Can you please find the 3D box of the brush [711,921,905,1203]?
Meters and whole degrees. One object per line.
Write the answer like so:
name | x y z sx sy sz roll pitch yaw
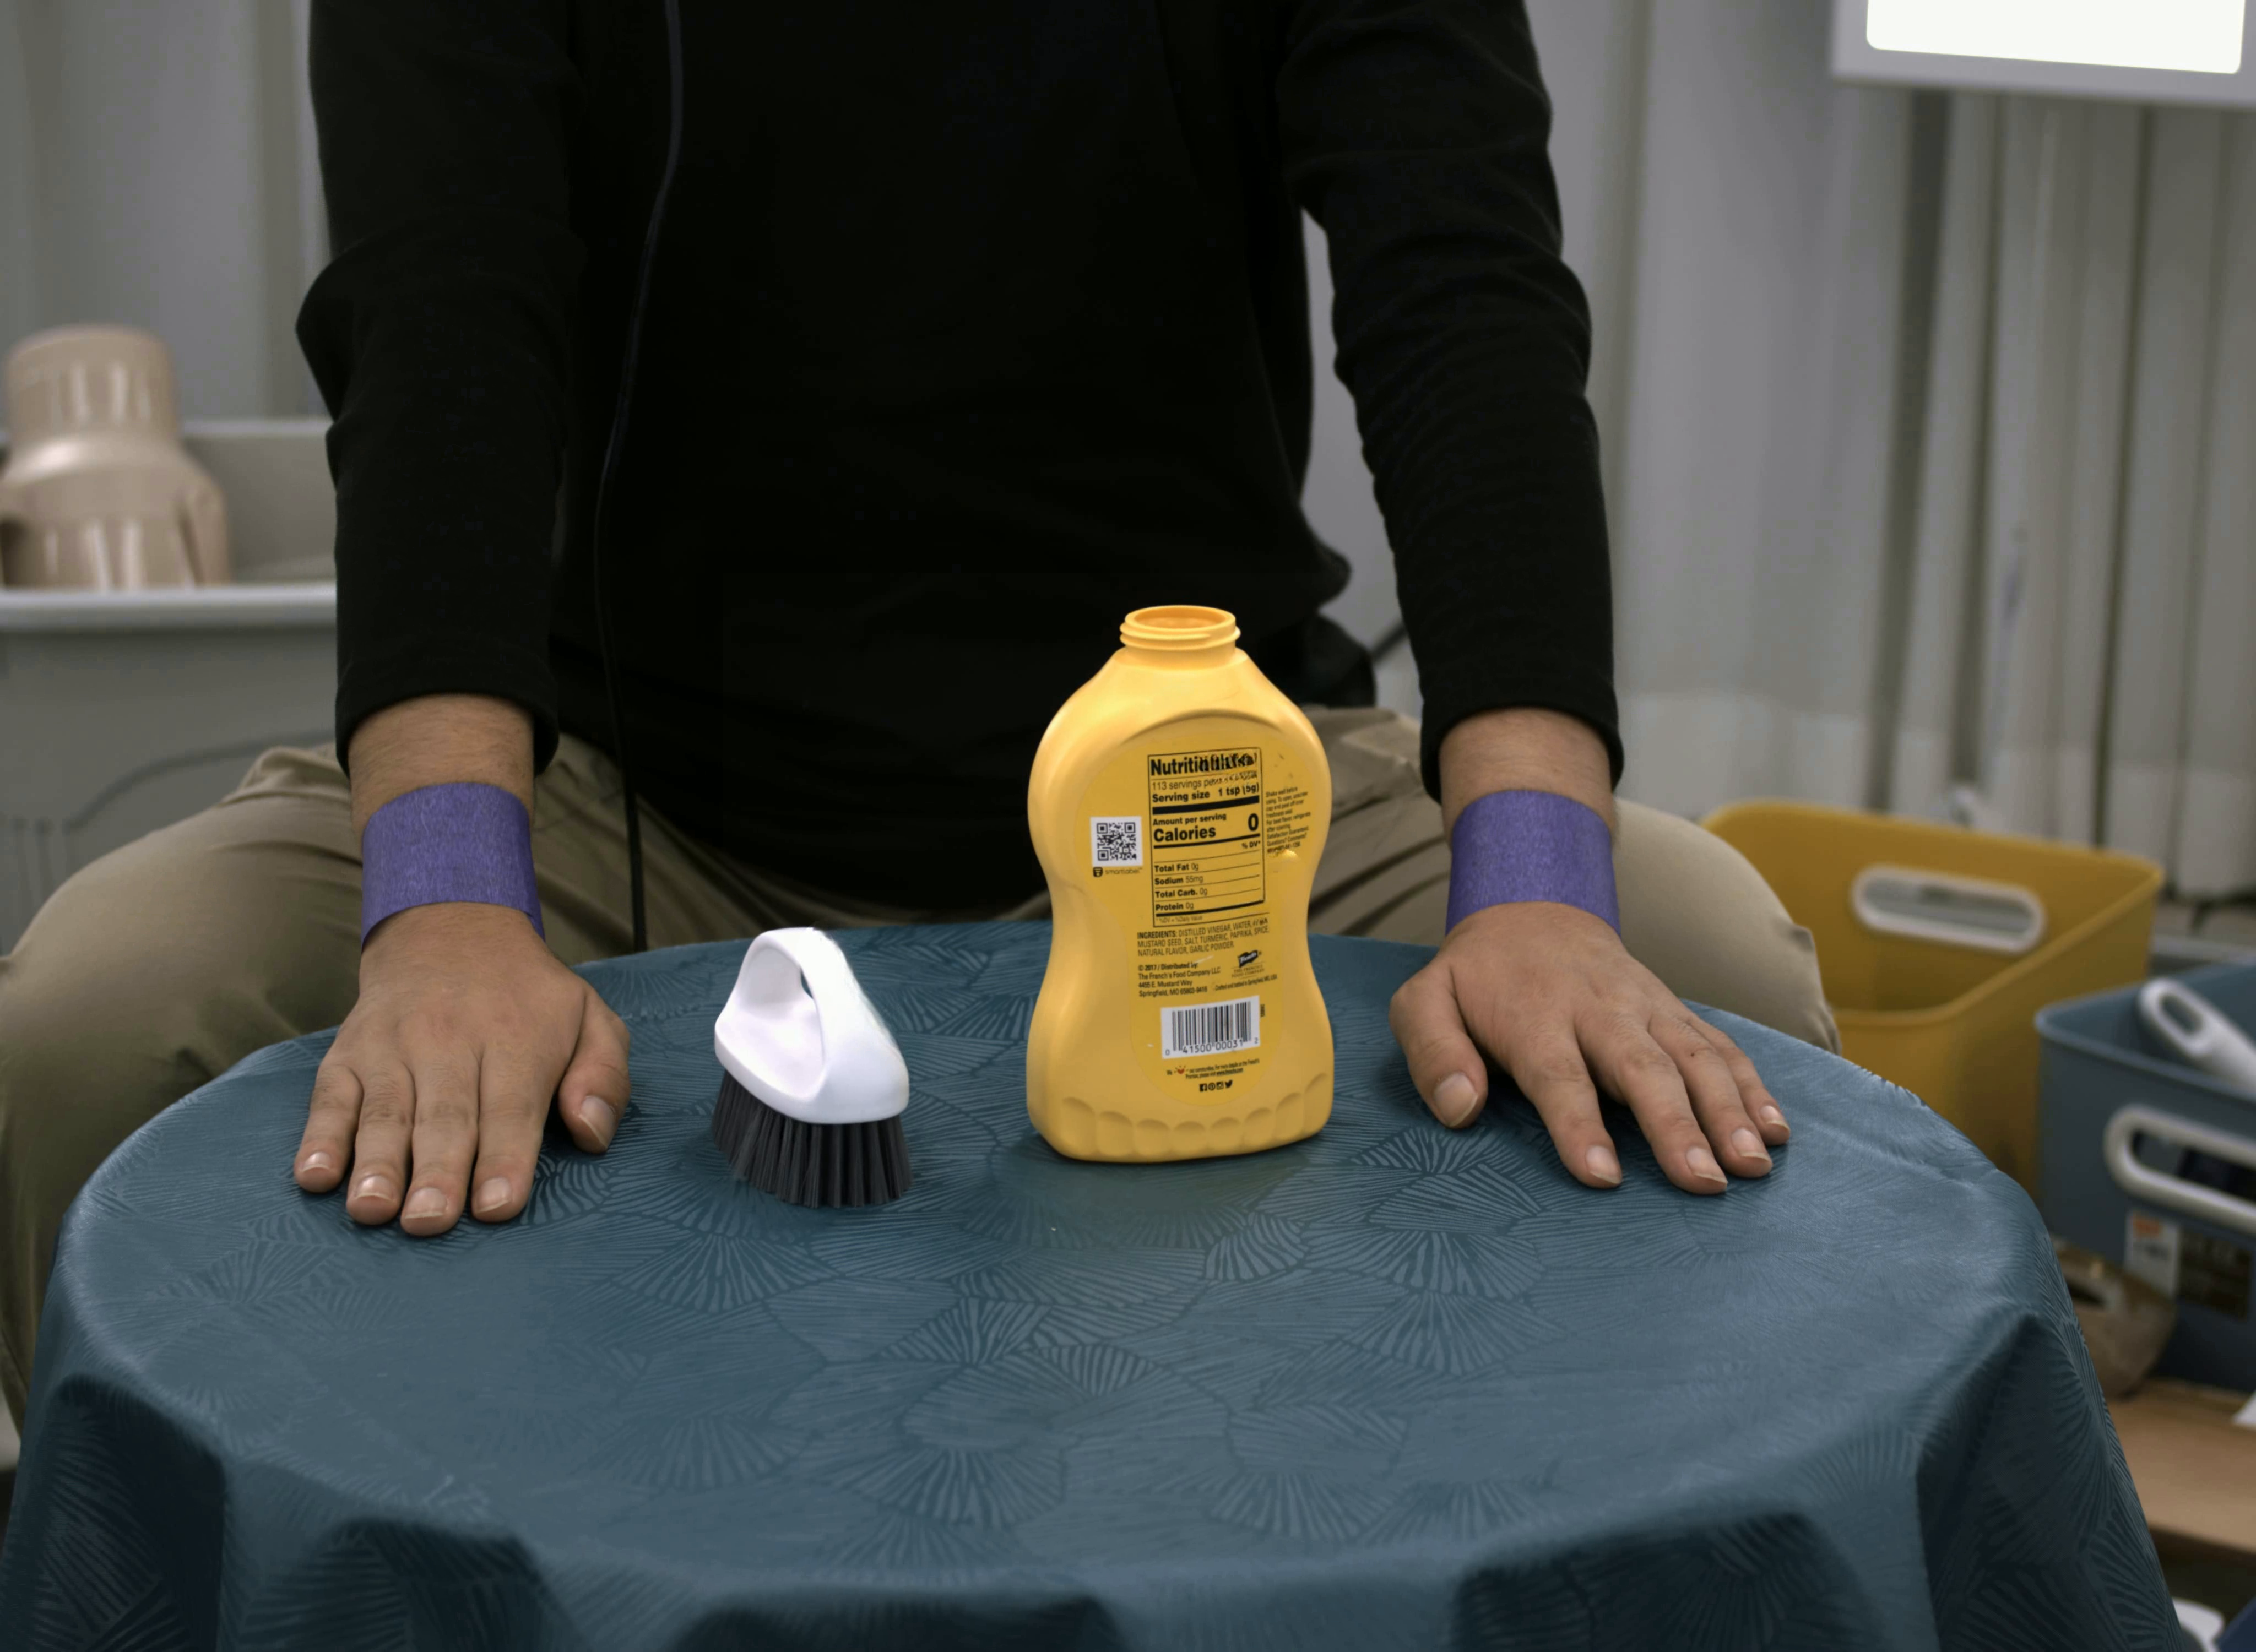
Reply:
brush | -0.100 0.068 1.637 0.050 0.073 0.098 -4 18 -19

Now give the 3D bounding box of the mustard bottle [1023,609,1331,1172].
mustard bottle | 0.014 0.019 1.644 0.098 0.173 0.058 -7 14 -21
